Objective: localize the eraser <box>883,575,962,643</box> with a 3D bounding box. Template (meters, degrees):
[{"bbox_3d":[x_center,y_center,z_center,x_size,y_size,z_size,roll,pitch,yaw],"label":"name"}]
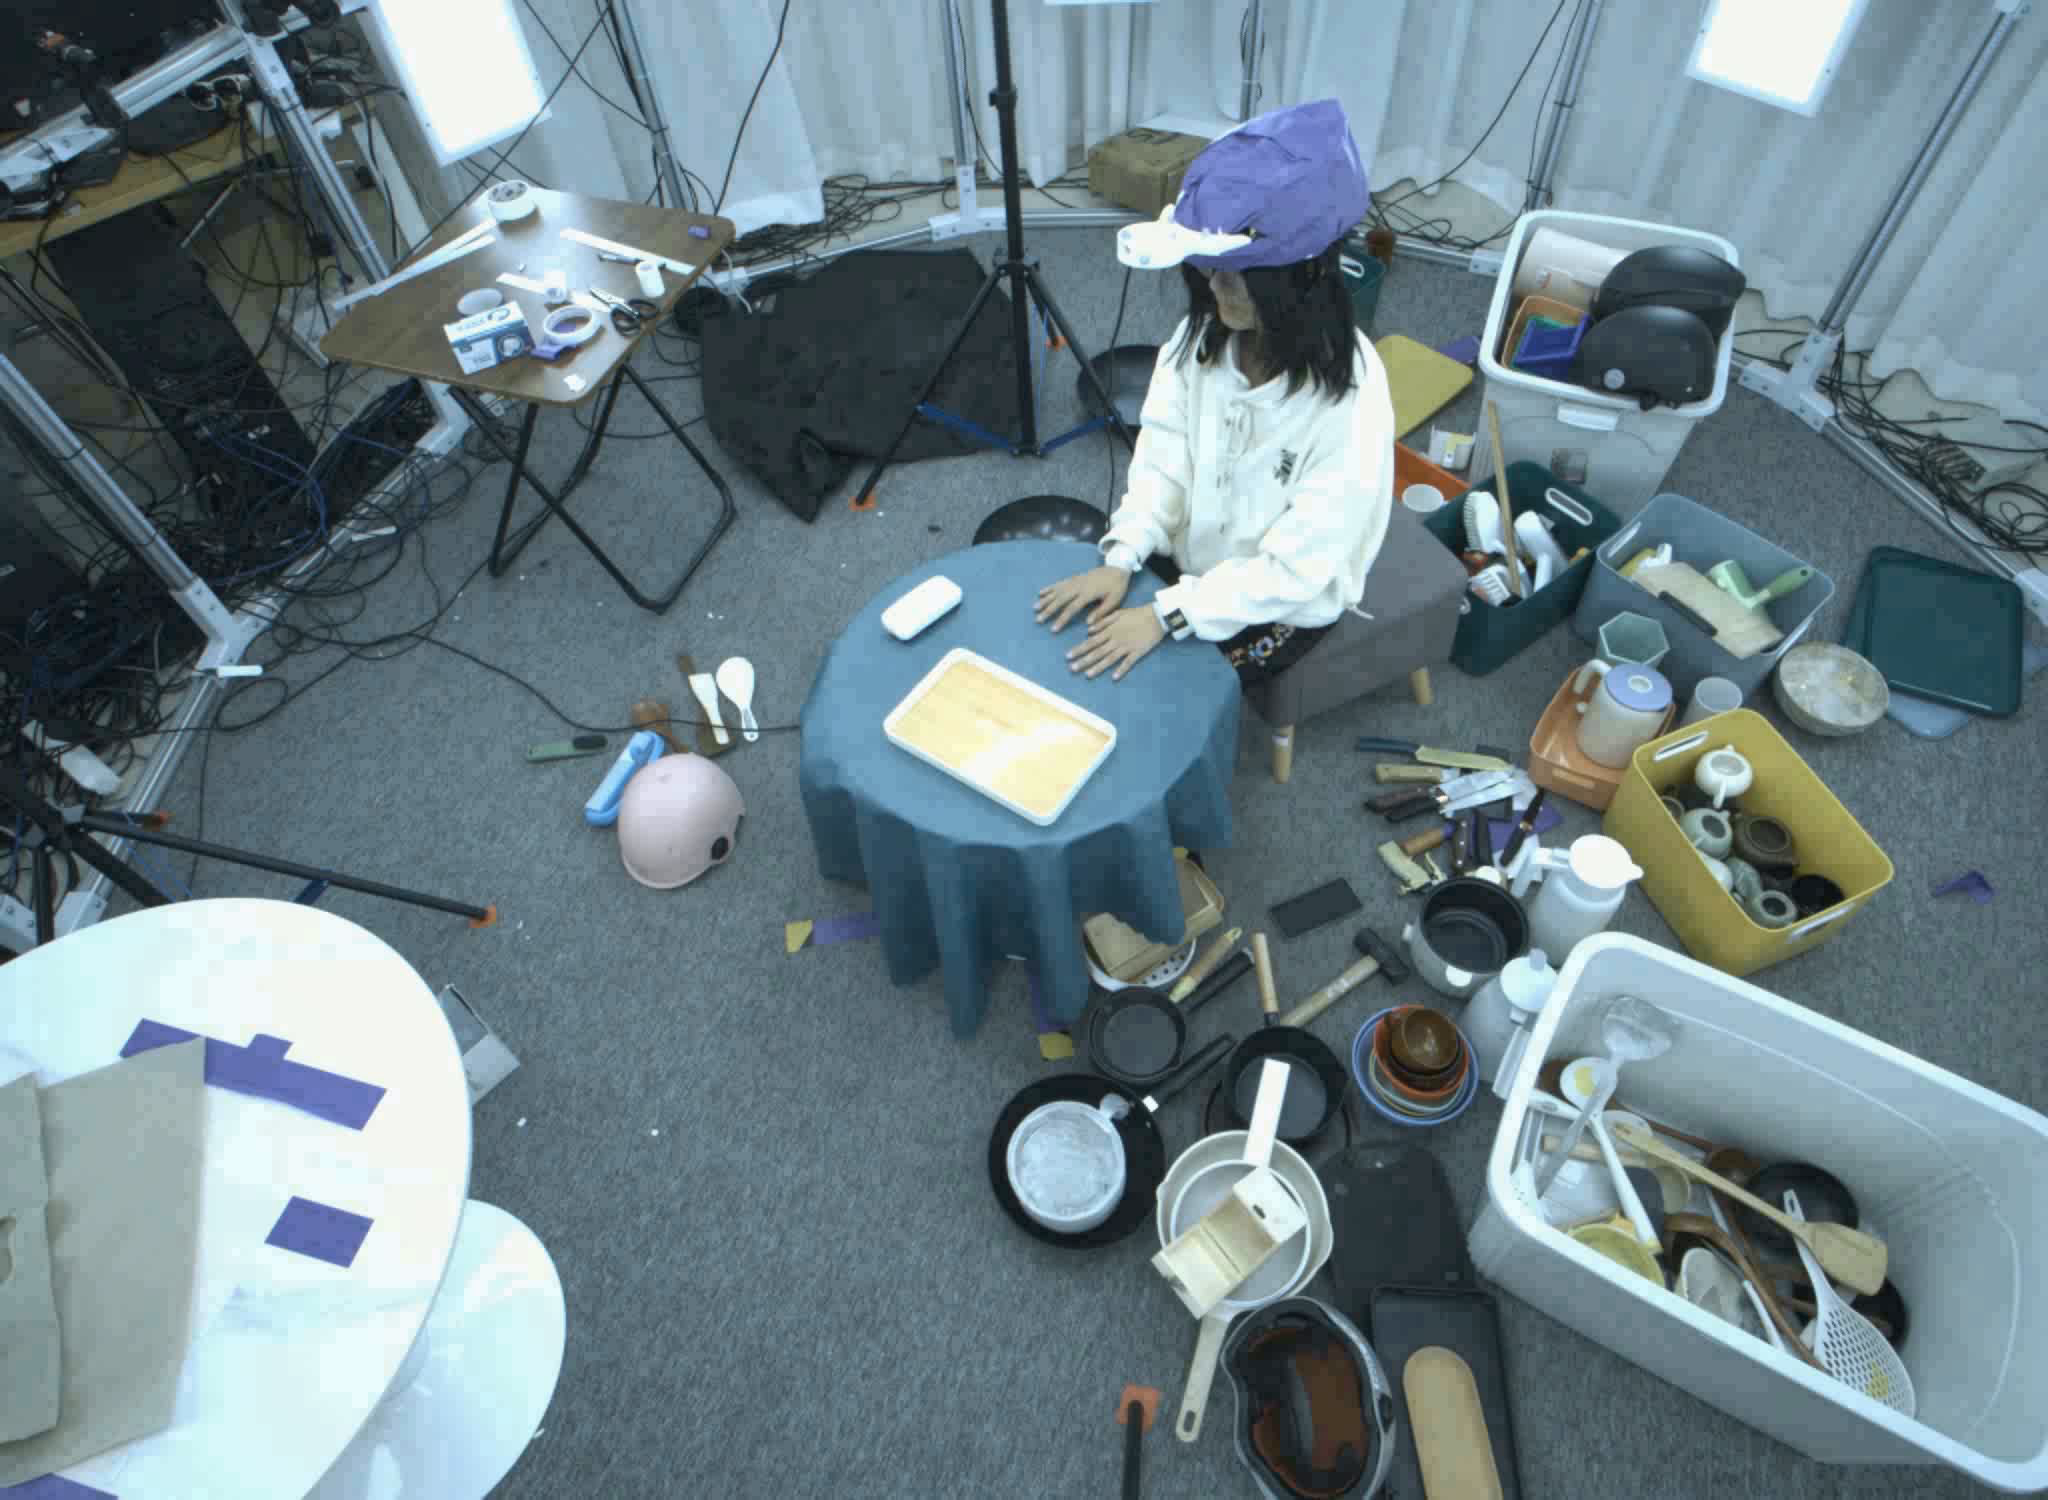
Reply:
[{"bbox_3d":[-0.159,-0.224,1.932,0.132,0.035,0.062,-39,62,-22],"label":"eraser"}]

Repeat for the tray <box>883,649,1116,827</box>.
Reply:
[{"bbox_3d":[-0.036,-0.023,1.789,0.295,0.028,0.192,29,61,21],"label":"tray"}]
